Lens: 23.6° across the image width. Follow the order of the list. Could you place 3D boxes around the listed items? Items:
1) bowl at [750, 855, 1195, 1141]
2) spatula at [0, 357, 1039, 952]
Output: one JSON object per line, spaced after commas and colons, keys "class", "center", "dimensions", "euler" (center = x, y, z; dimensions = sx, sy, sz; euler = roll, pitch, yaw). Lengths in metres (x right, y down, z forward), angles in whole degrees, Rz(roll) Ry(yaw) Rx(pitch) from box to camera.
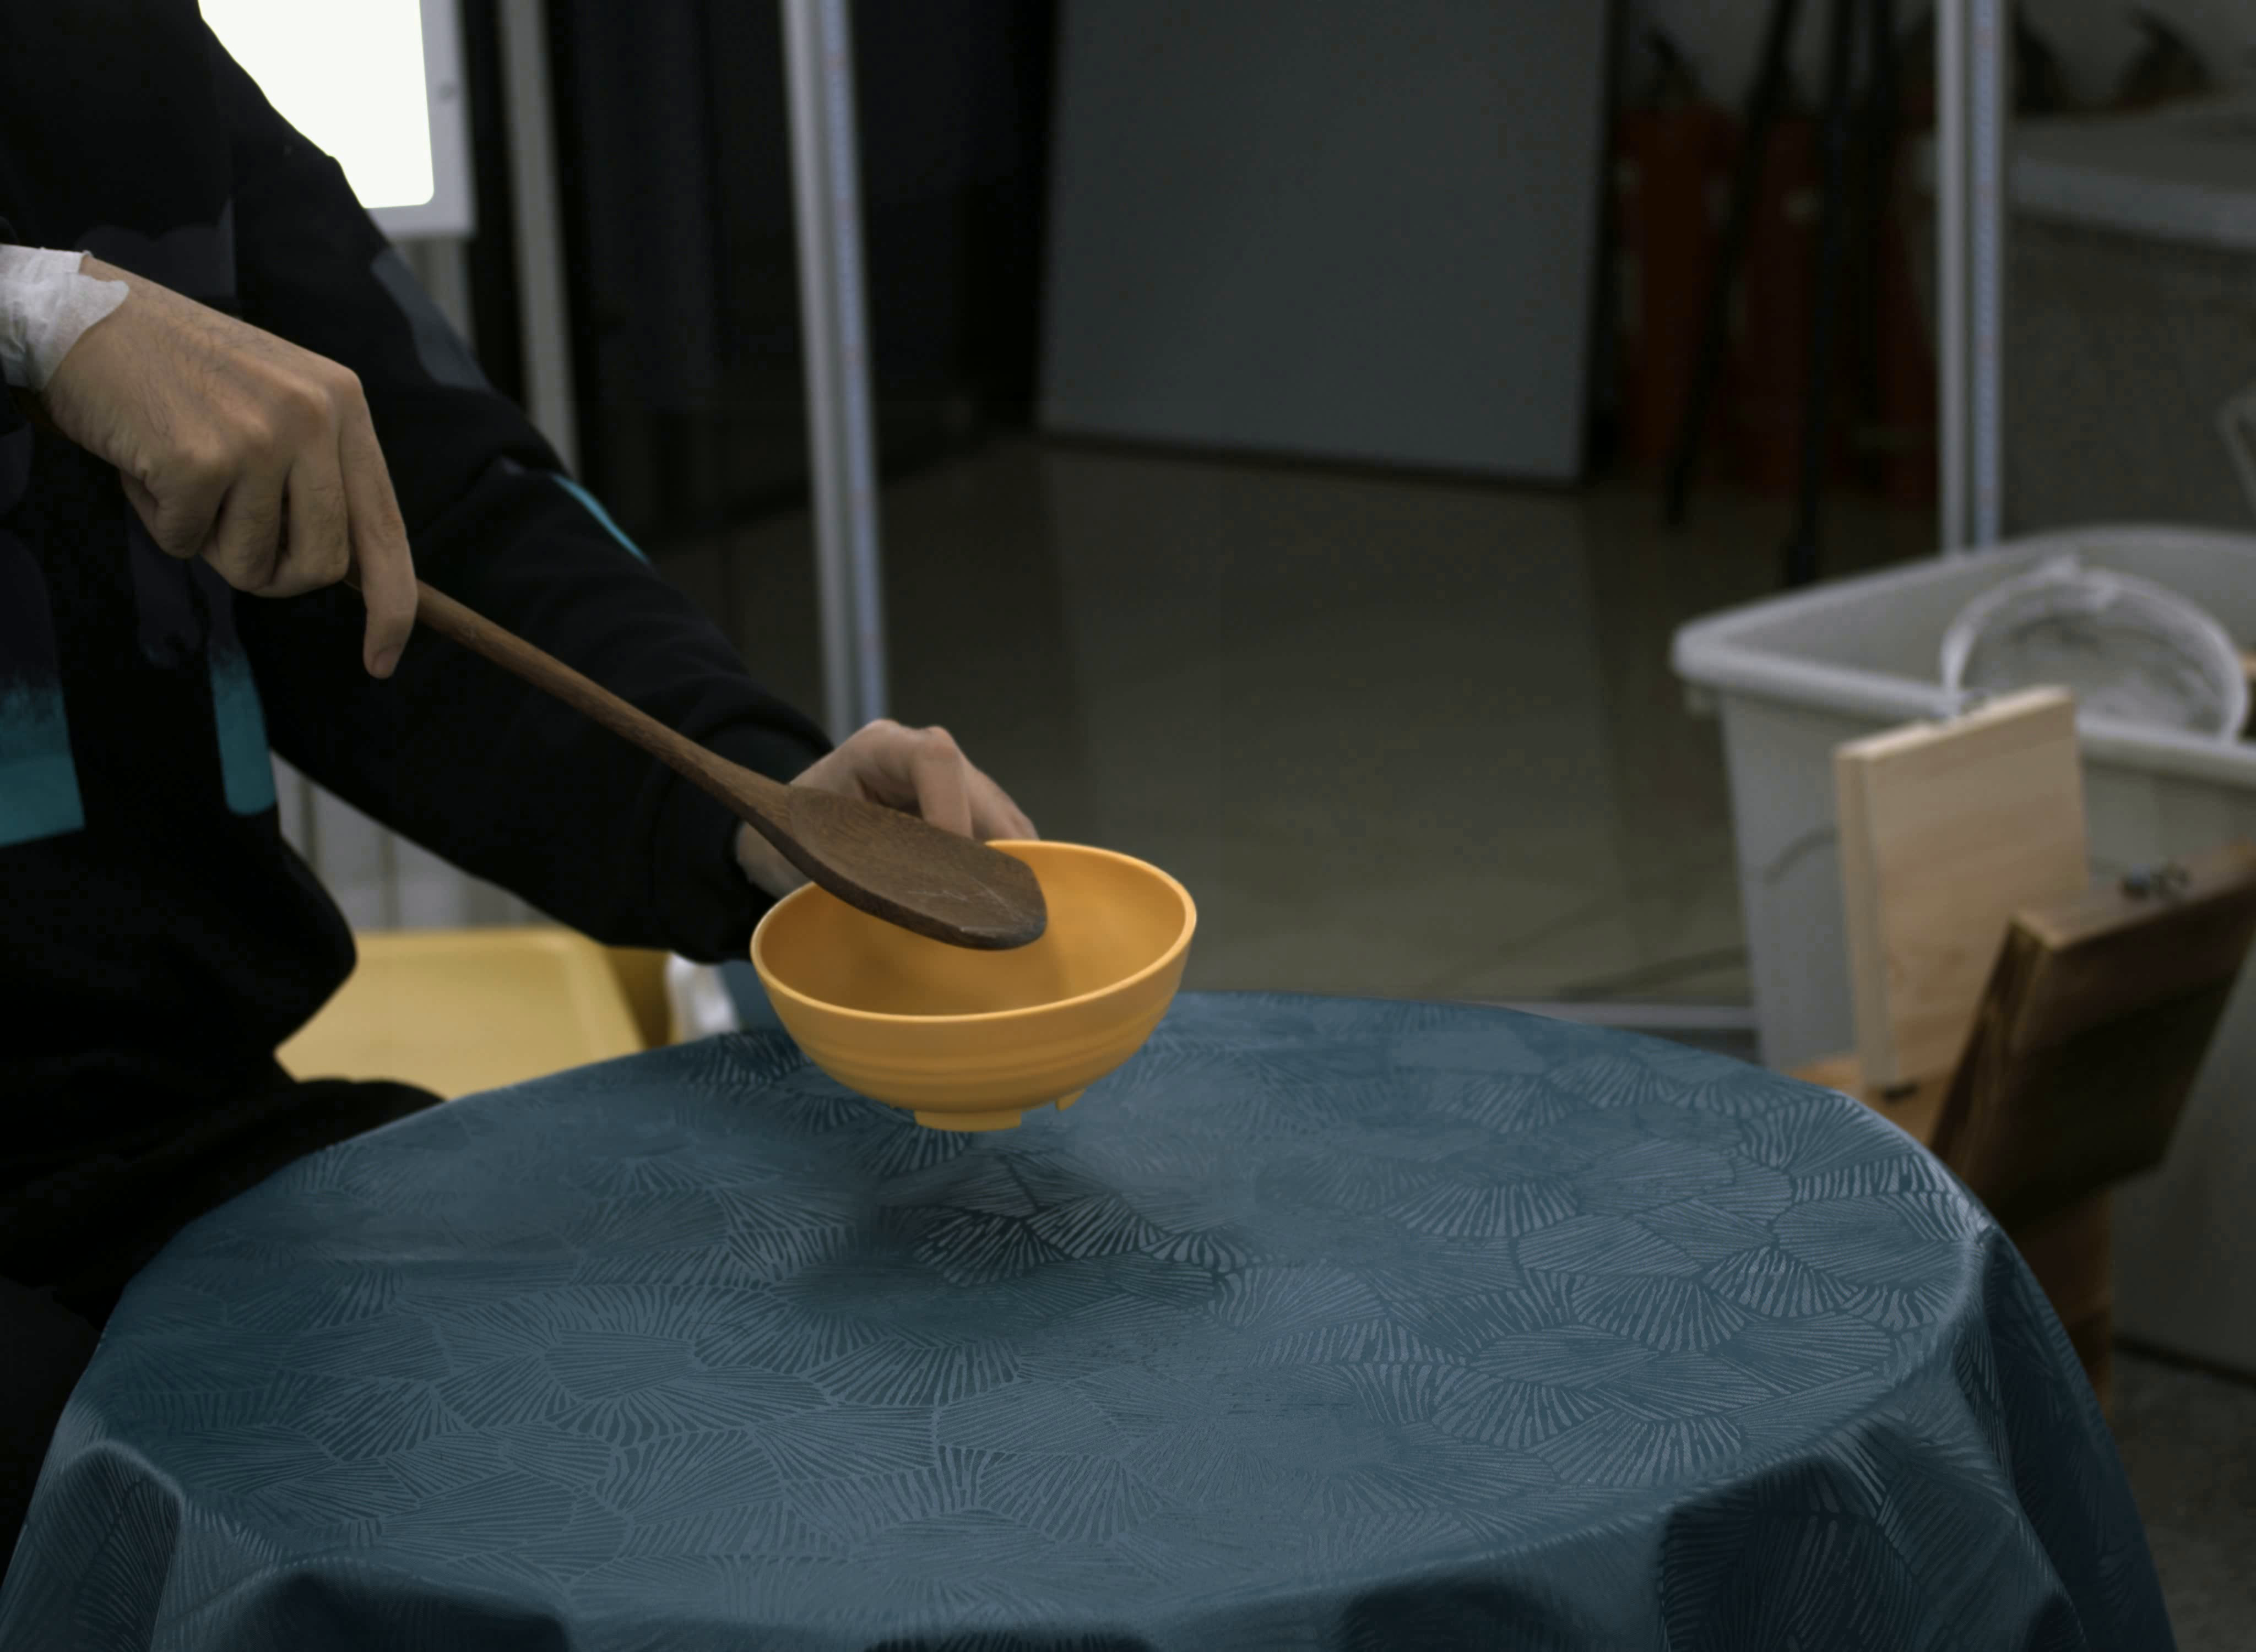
{"class": "bowl", "center": [-0.048, 0.061, 1.740], "dimensions": [0.143, 0.061, 0.146], "euler": [-4, 20, 0]}
{"class": "spatula", "center": [-0.197, -0.057, 1.730], "dimensions": [0.383, 0.016, 0.096], "euler": [29, 16, -2]}
